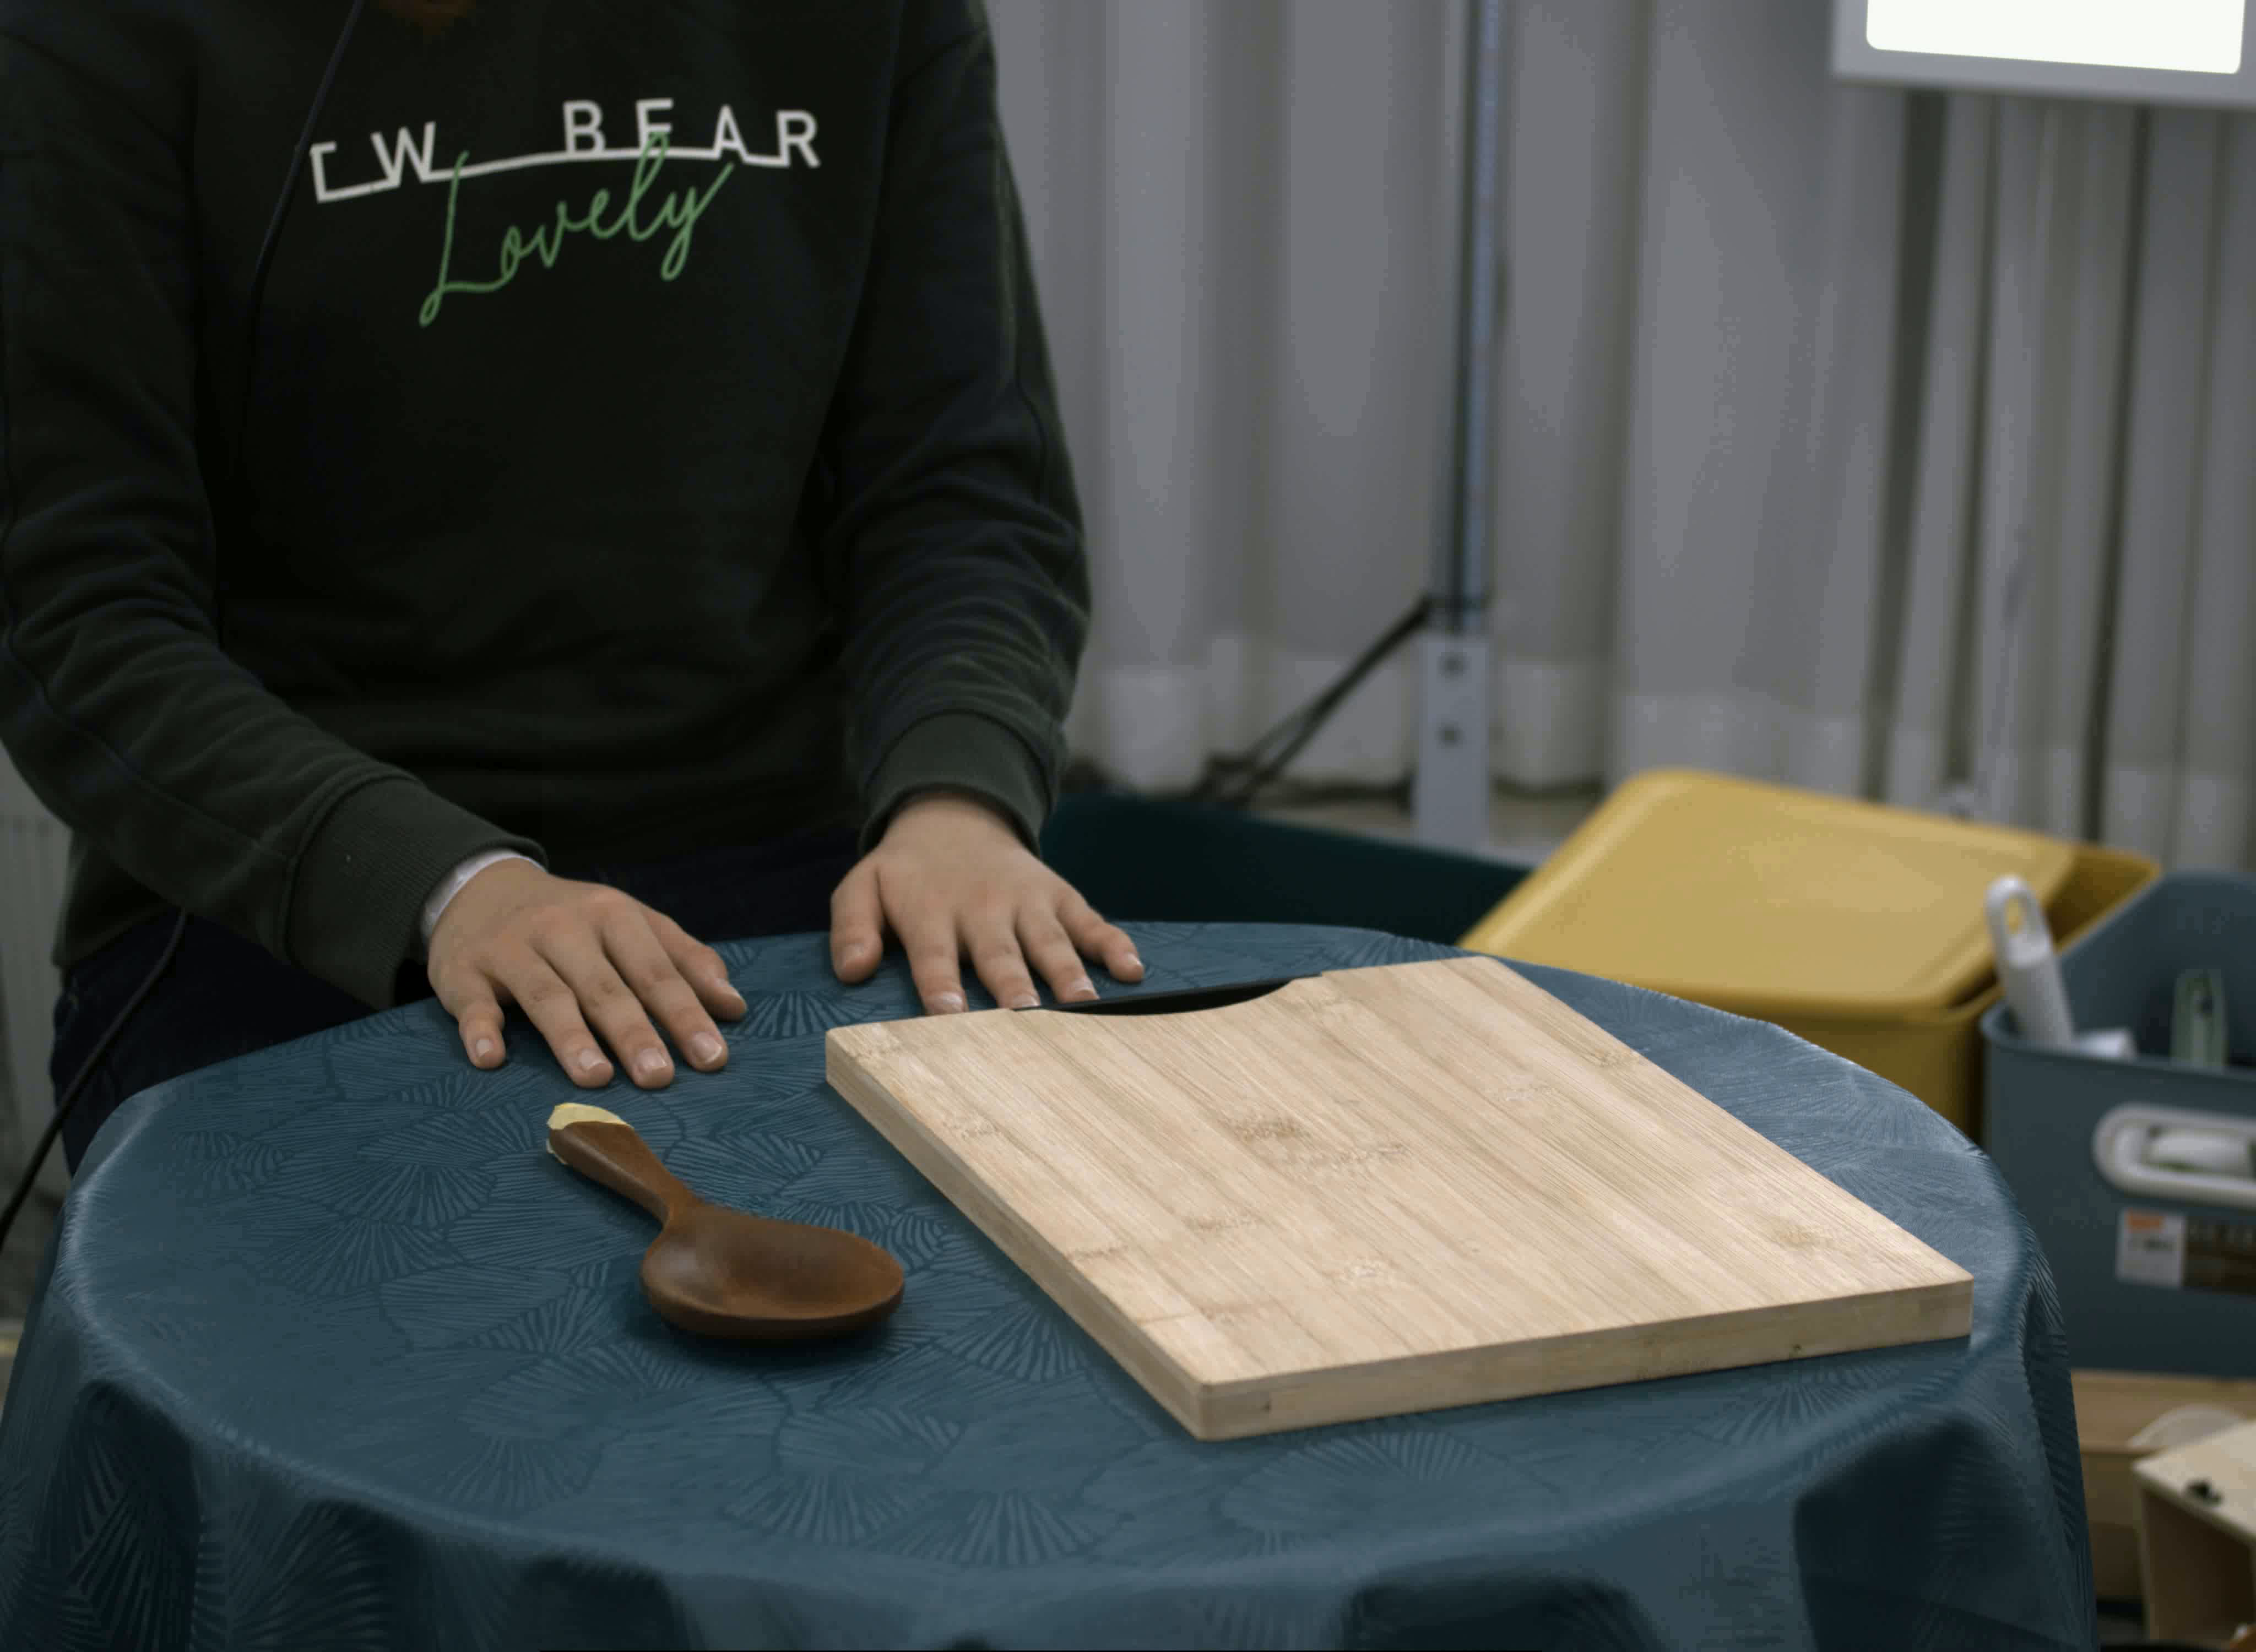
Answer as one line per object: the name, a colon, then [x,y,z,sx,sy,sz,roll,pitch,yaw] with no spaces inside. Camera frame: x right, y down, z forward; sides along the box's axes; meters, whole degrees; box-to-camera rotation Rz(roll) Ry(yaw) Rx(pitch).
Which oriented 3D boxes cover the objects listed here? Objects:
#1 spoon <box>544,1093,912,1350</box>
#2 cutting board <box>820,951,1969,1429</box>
spoon: [-0.128,0.118,1.569,0.076,0.017,0.213,-9,19,-25]
cutting board: [0.070,0.105,1.625,0.251,0.024,0.344,-5,17,-22]
